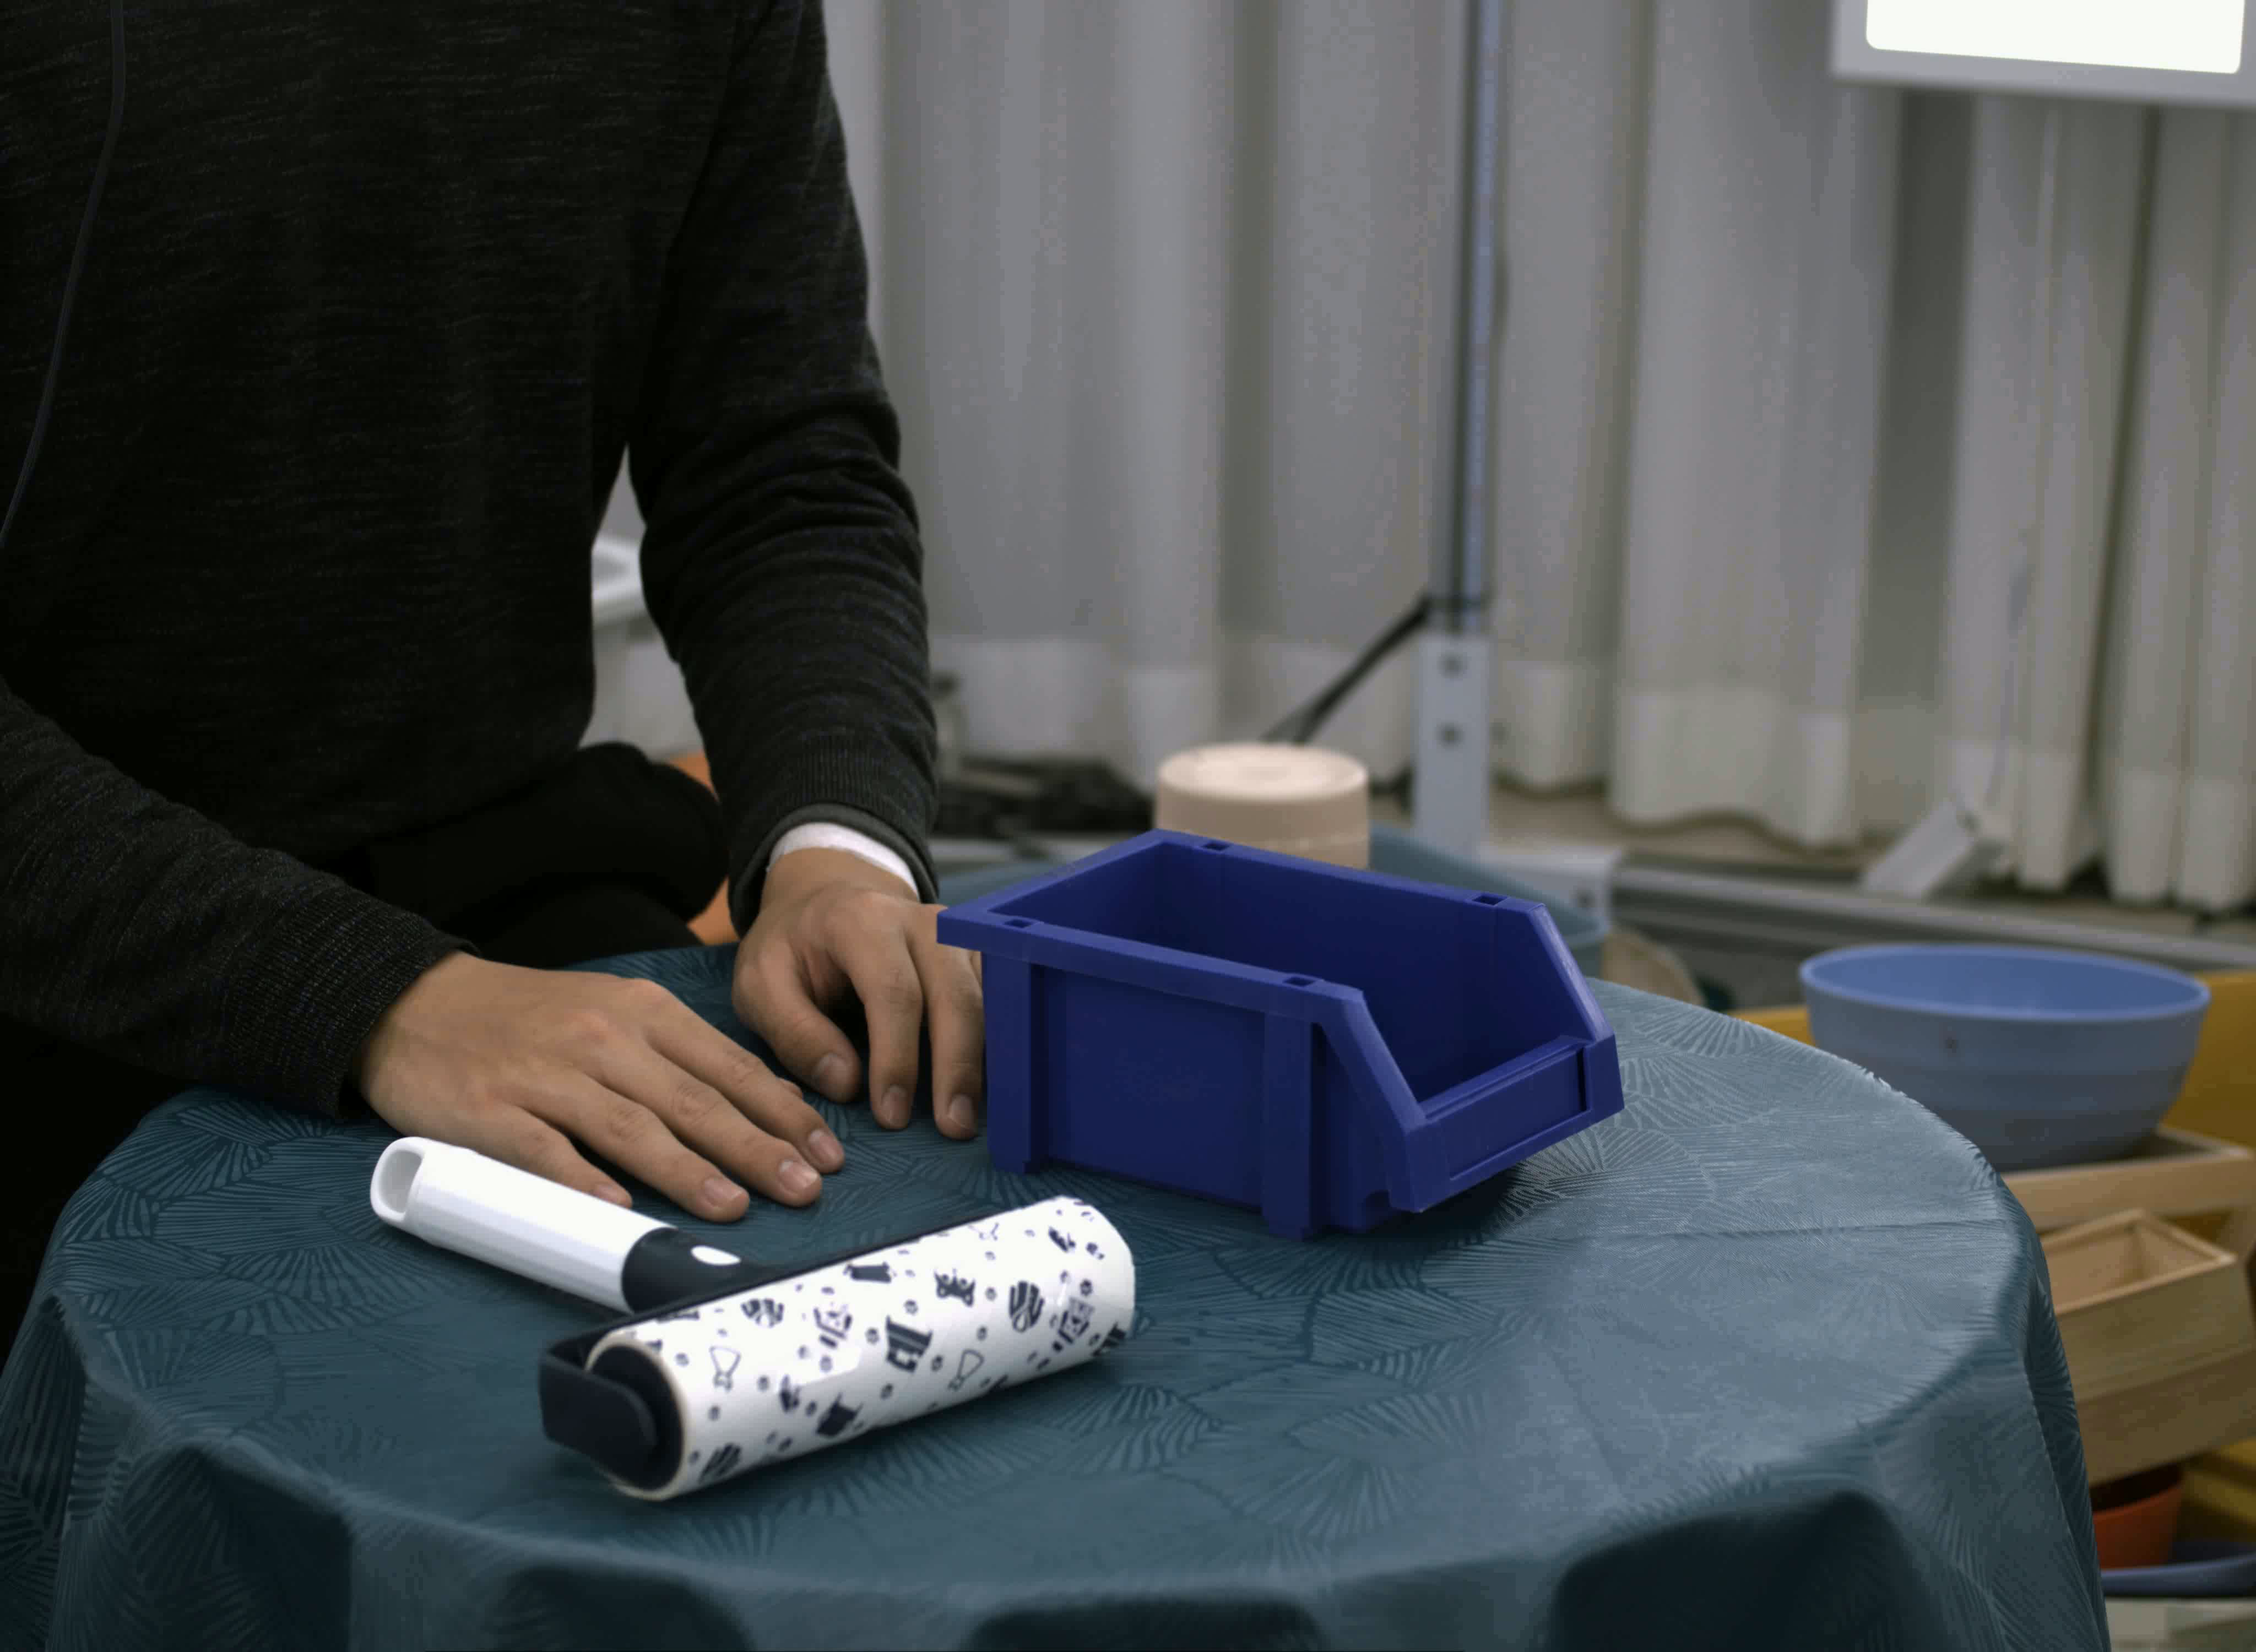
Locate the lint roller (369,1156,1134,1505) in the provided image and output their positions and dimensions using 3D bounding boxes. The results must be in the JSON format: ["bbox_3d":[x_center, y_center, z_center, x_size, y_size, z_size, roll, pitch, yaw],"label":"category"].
[{"bbox_3d":[-0.141,0.123,1.497,0.177,0.051,0.244,-15,21,-42],"label":"lint roller"}]

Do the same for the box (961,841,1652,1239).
[{"bbox_3d":[0.057,0.066,1.636,0.177,0.082,0.125,8,17,35],"label":"box"}]
